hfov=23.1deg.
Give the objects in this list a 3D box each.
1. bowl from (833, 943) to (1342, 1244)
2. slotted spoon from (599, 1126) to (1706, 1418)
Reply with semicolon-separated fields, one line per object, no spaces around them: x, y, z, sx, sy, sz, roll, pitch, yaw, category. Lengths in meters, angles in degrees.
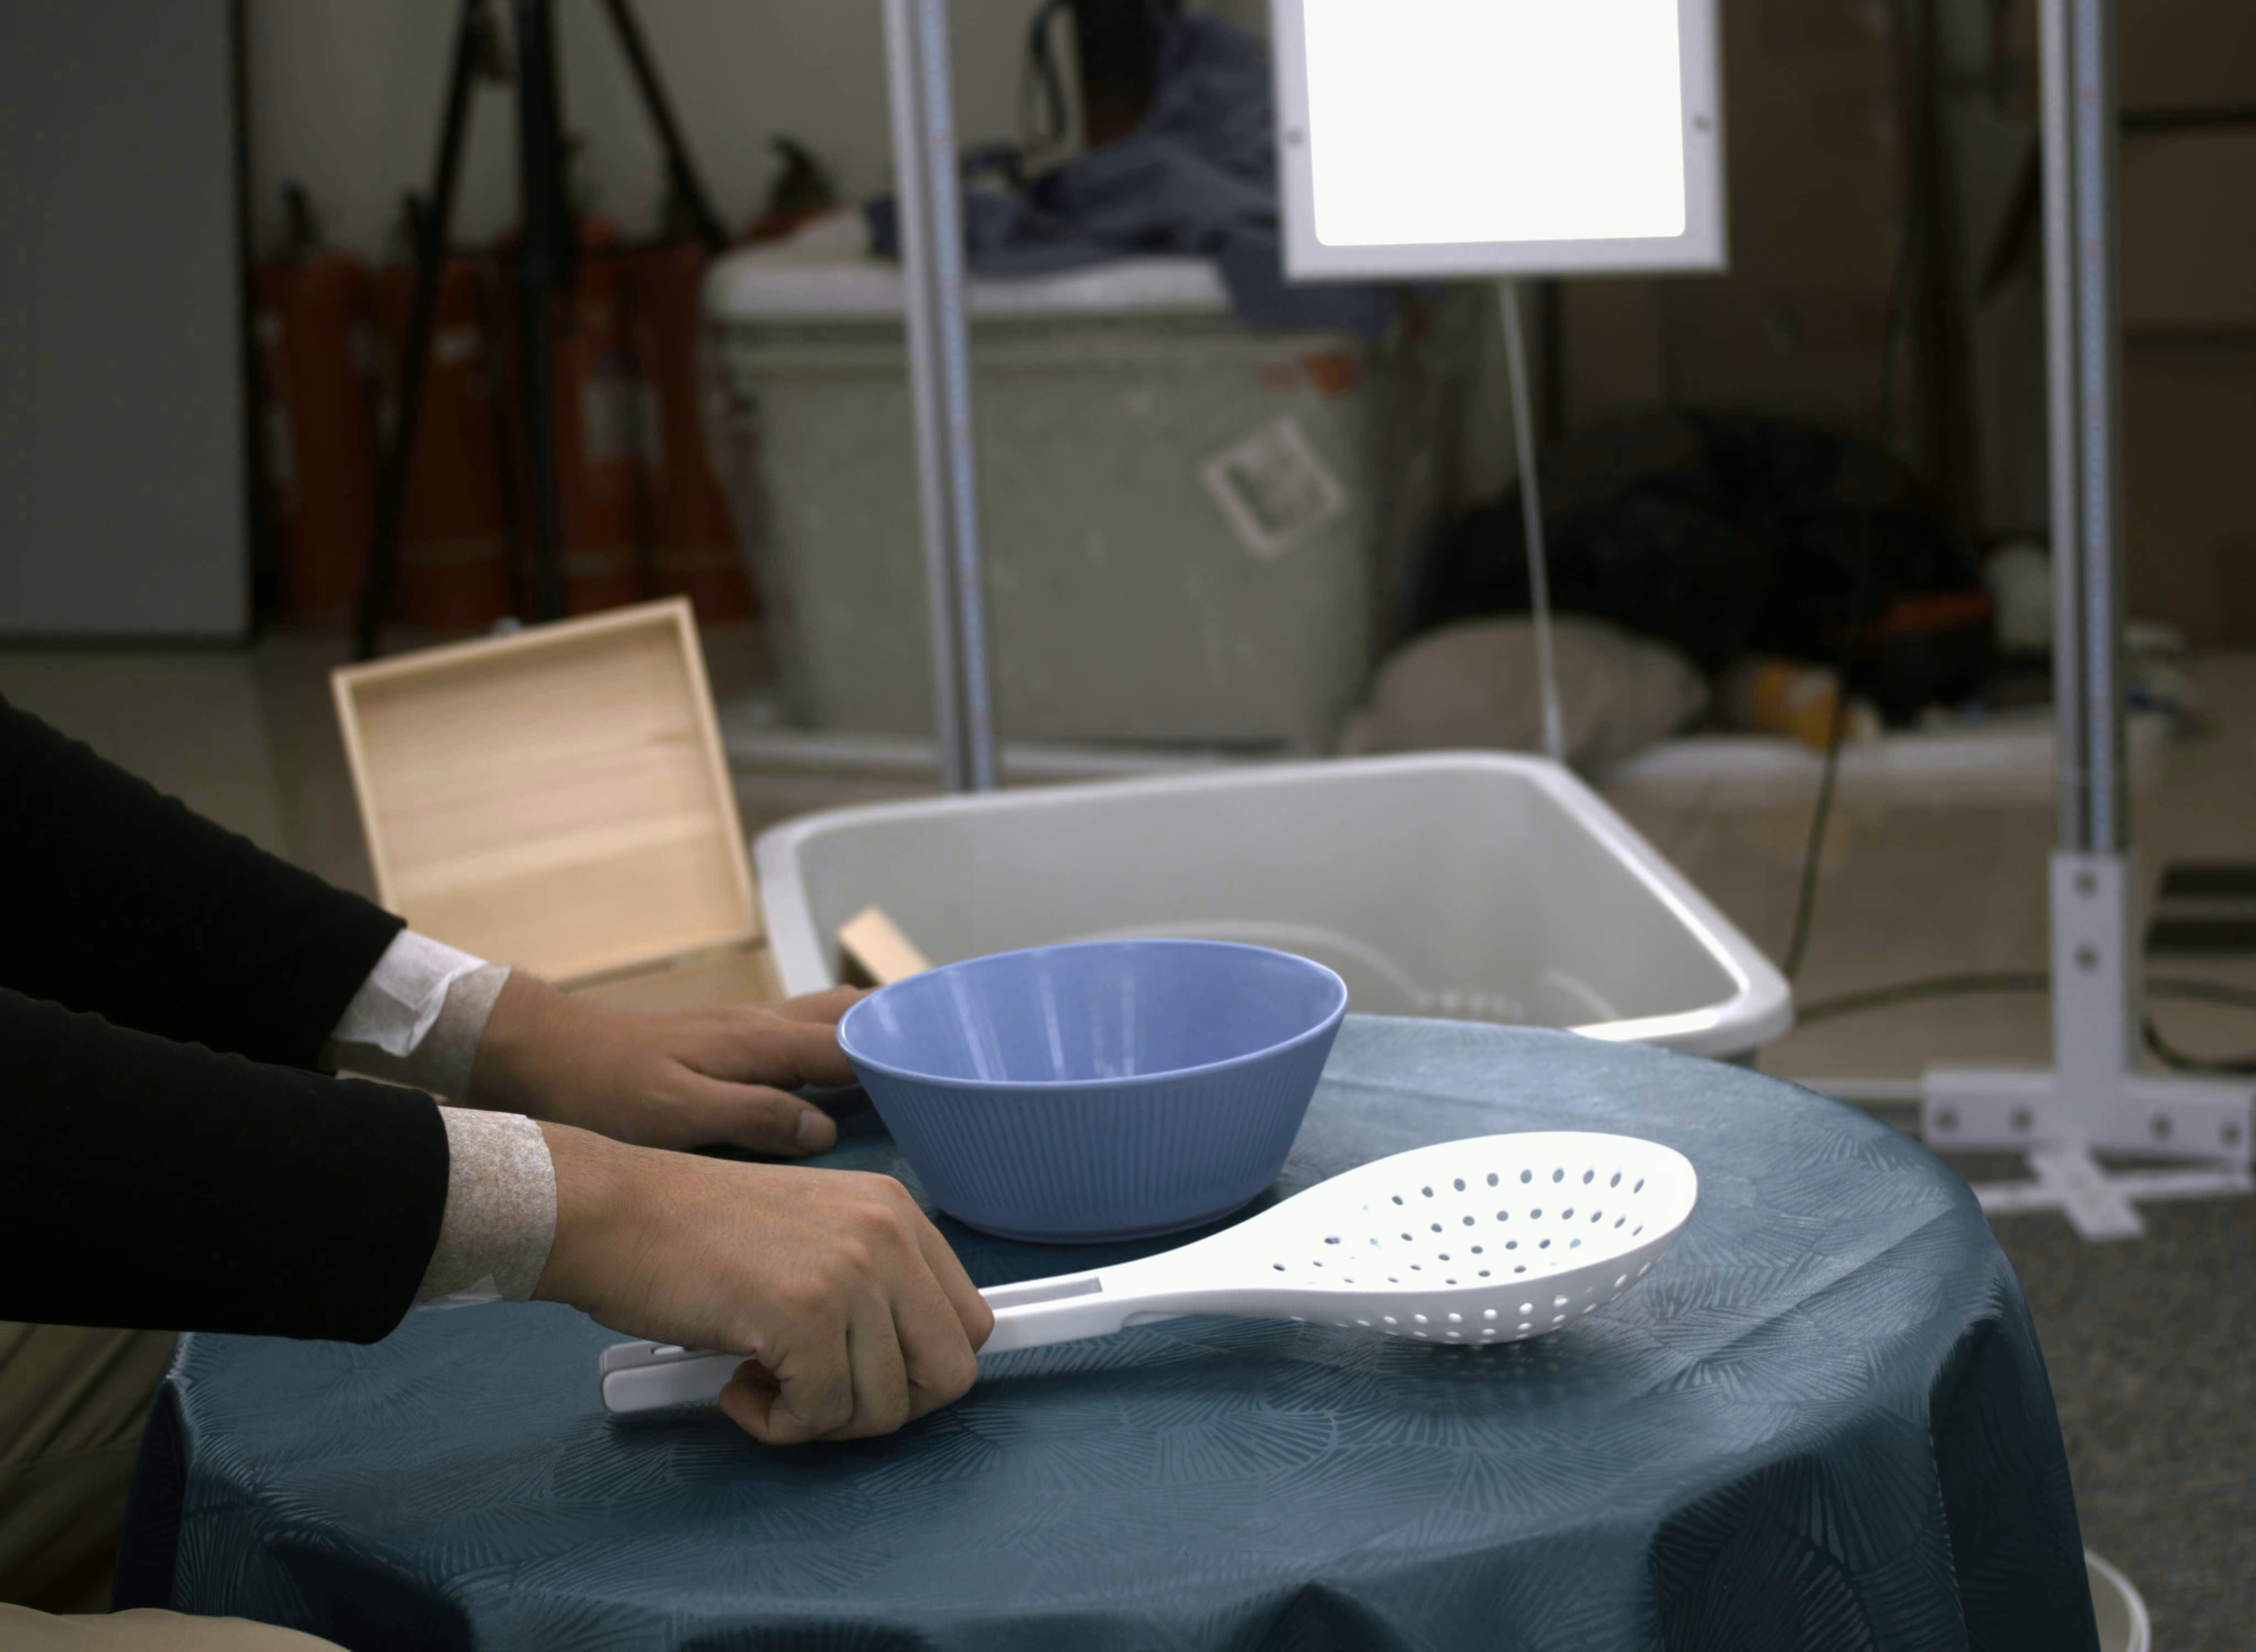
-0.011;0.094;1.889;0.175;0.070;0.176;-6;14;0;bowl
0.008;0.144;1.716;0.348;0.046;0.136;-6;16;-3;slotted spoon
